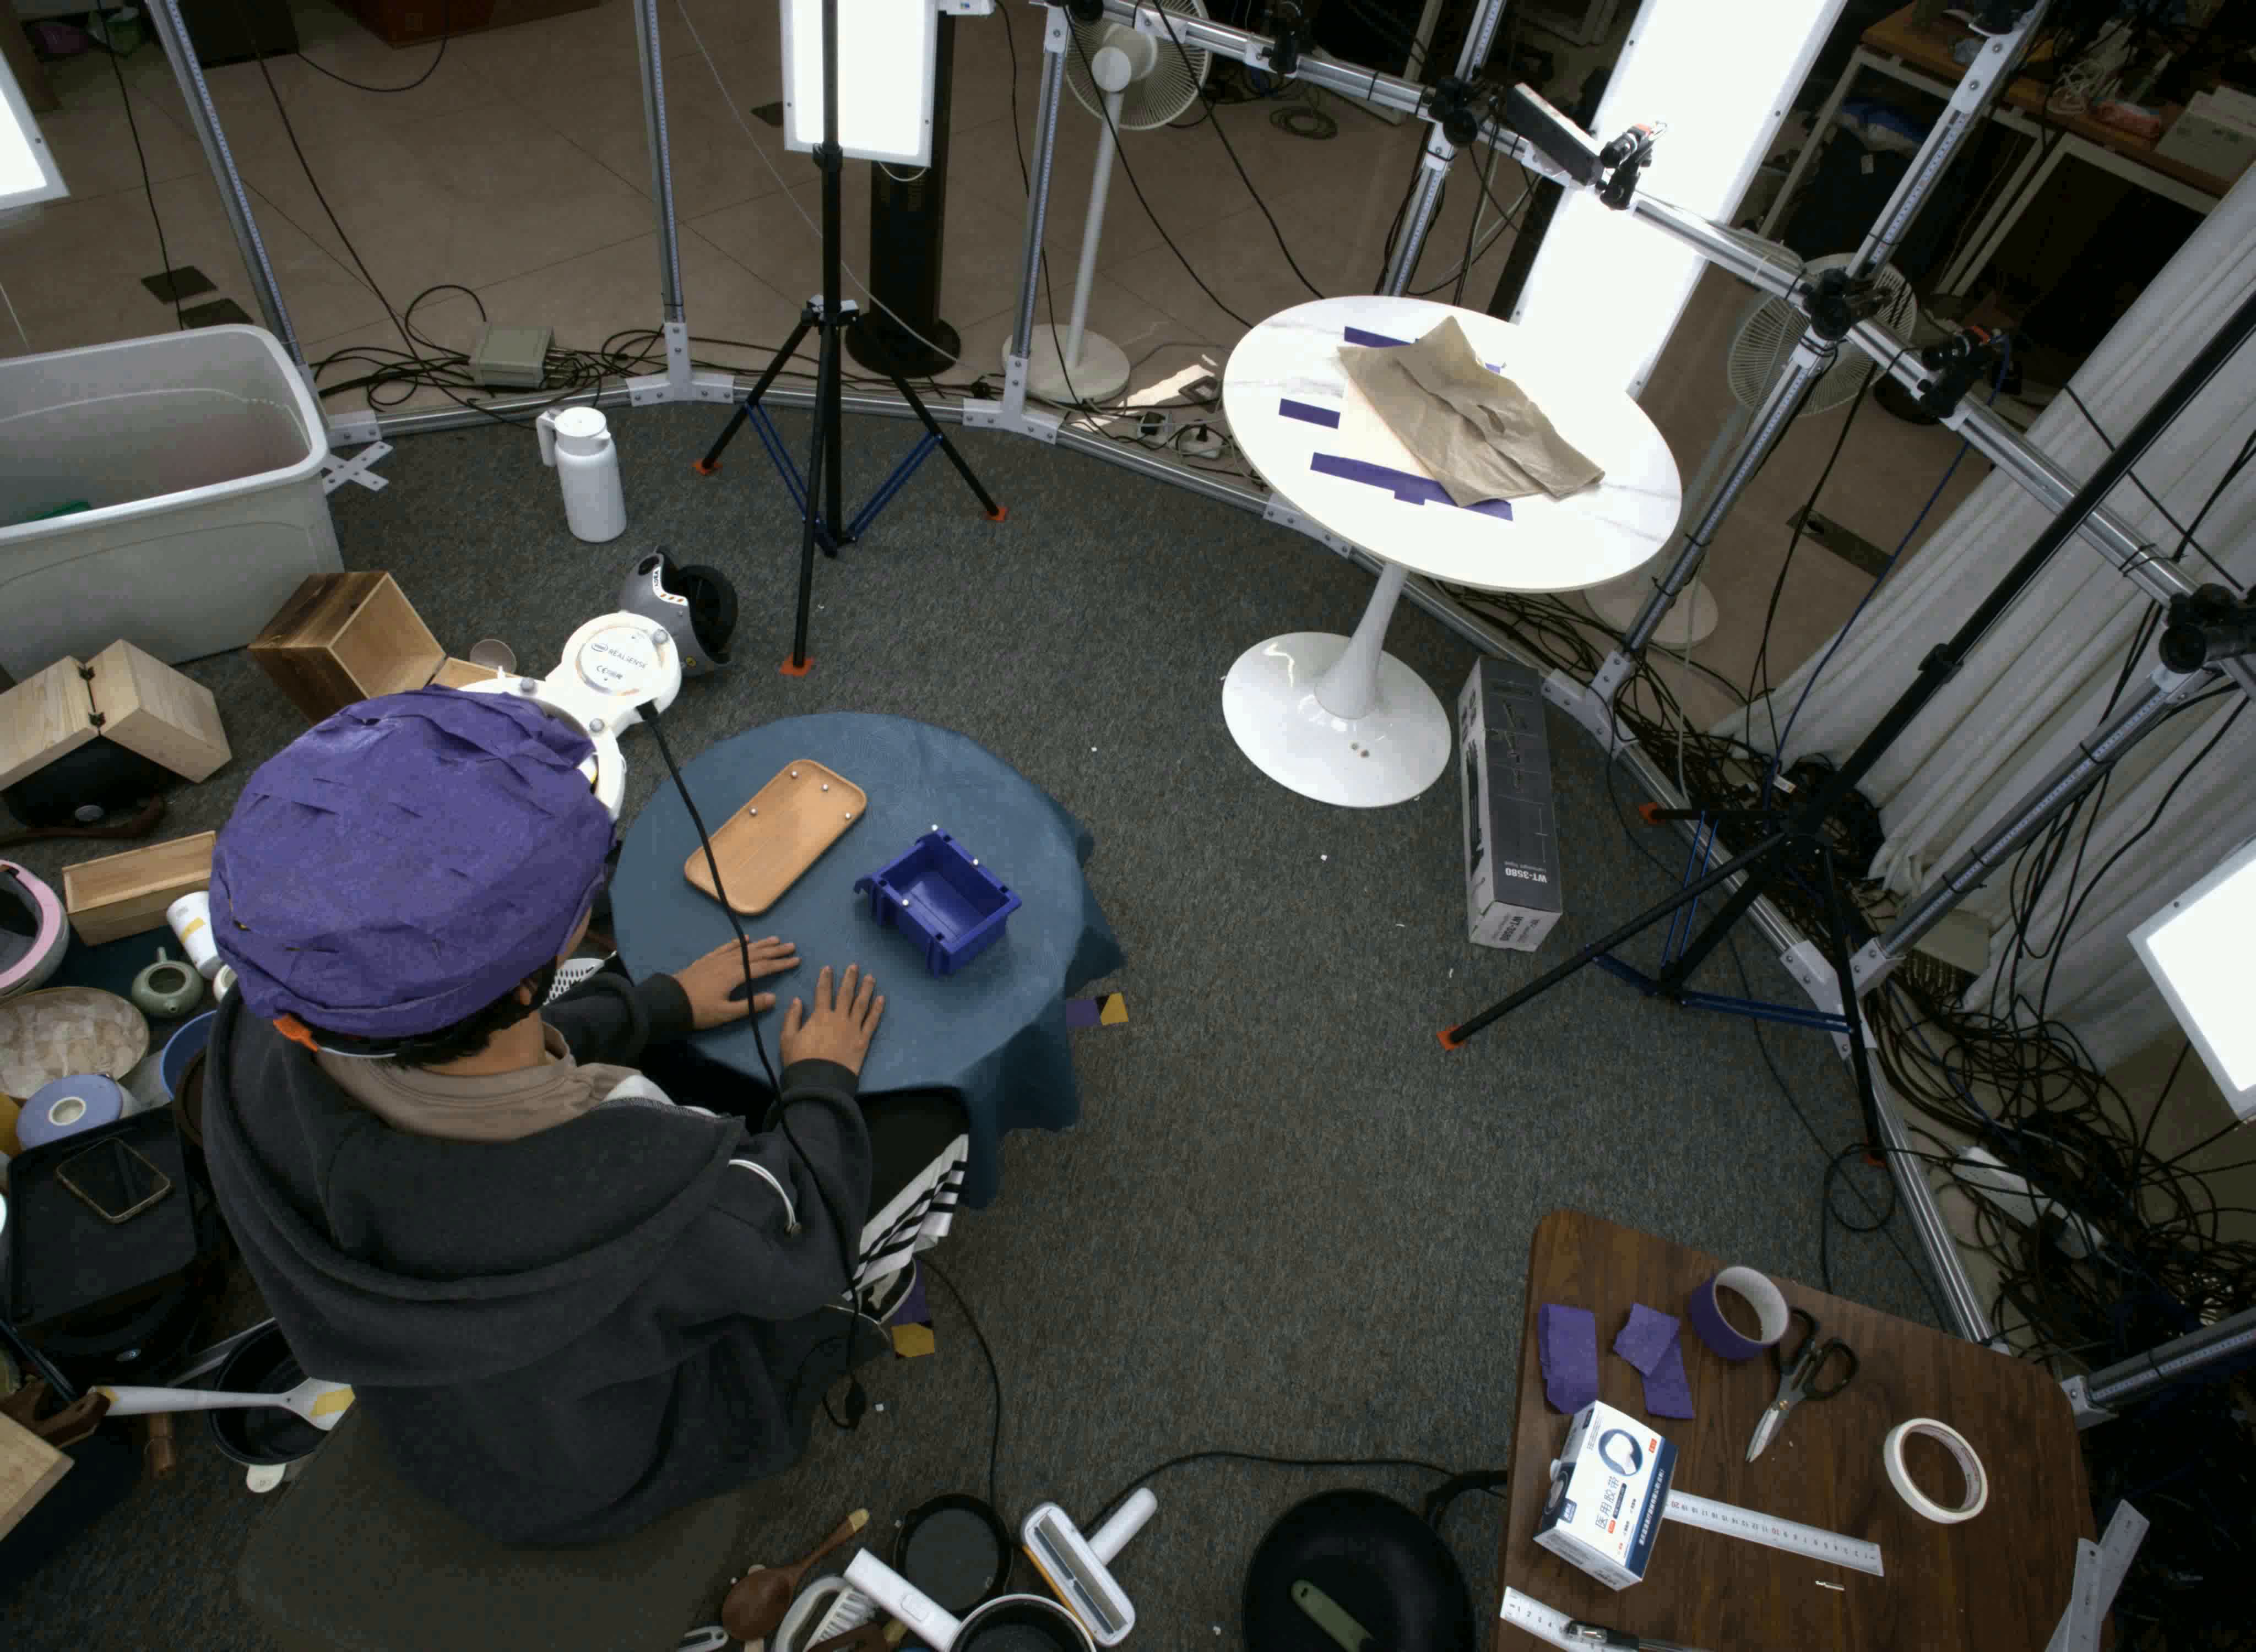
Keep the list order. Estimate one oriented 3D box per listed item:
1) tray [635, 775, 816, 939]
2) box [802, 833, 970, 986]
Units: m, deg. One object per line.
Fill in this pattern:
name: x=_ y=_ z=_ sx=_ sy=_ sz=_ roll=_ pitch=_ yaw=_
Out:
tray: x=-0.516 y=0.036 z=1.667 sx=0.128 sy=0.023 sz=0.249 roll=27 pitch=52 yaw=10
box: x=-0.307 y=0.099 z=1.632 sx=0.176 sy=0.083 sz=0.124 roll=41 pitch=56 yaw=13
